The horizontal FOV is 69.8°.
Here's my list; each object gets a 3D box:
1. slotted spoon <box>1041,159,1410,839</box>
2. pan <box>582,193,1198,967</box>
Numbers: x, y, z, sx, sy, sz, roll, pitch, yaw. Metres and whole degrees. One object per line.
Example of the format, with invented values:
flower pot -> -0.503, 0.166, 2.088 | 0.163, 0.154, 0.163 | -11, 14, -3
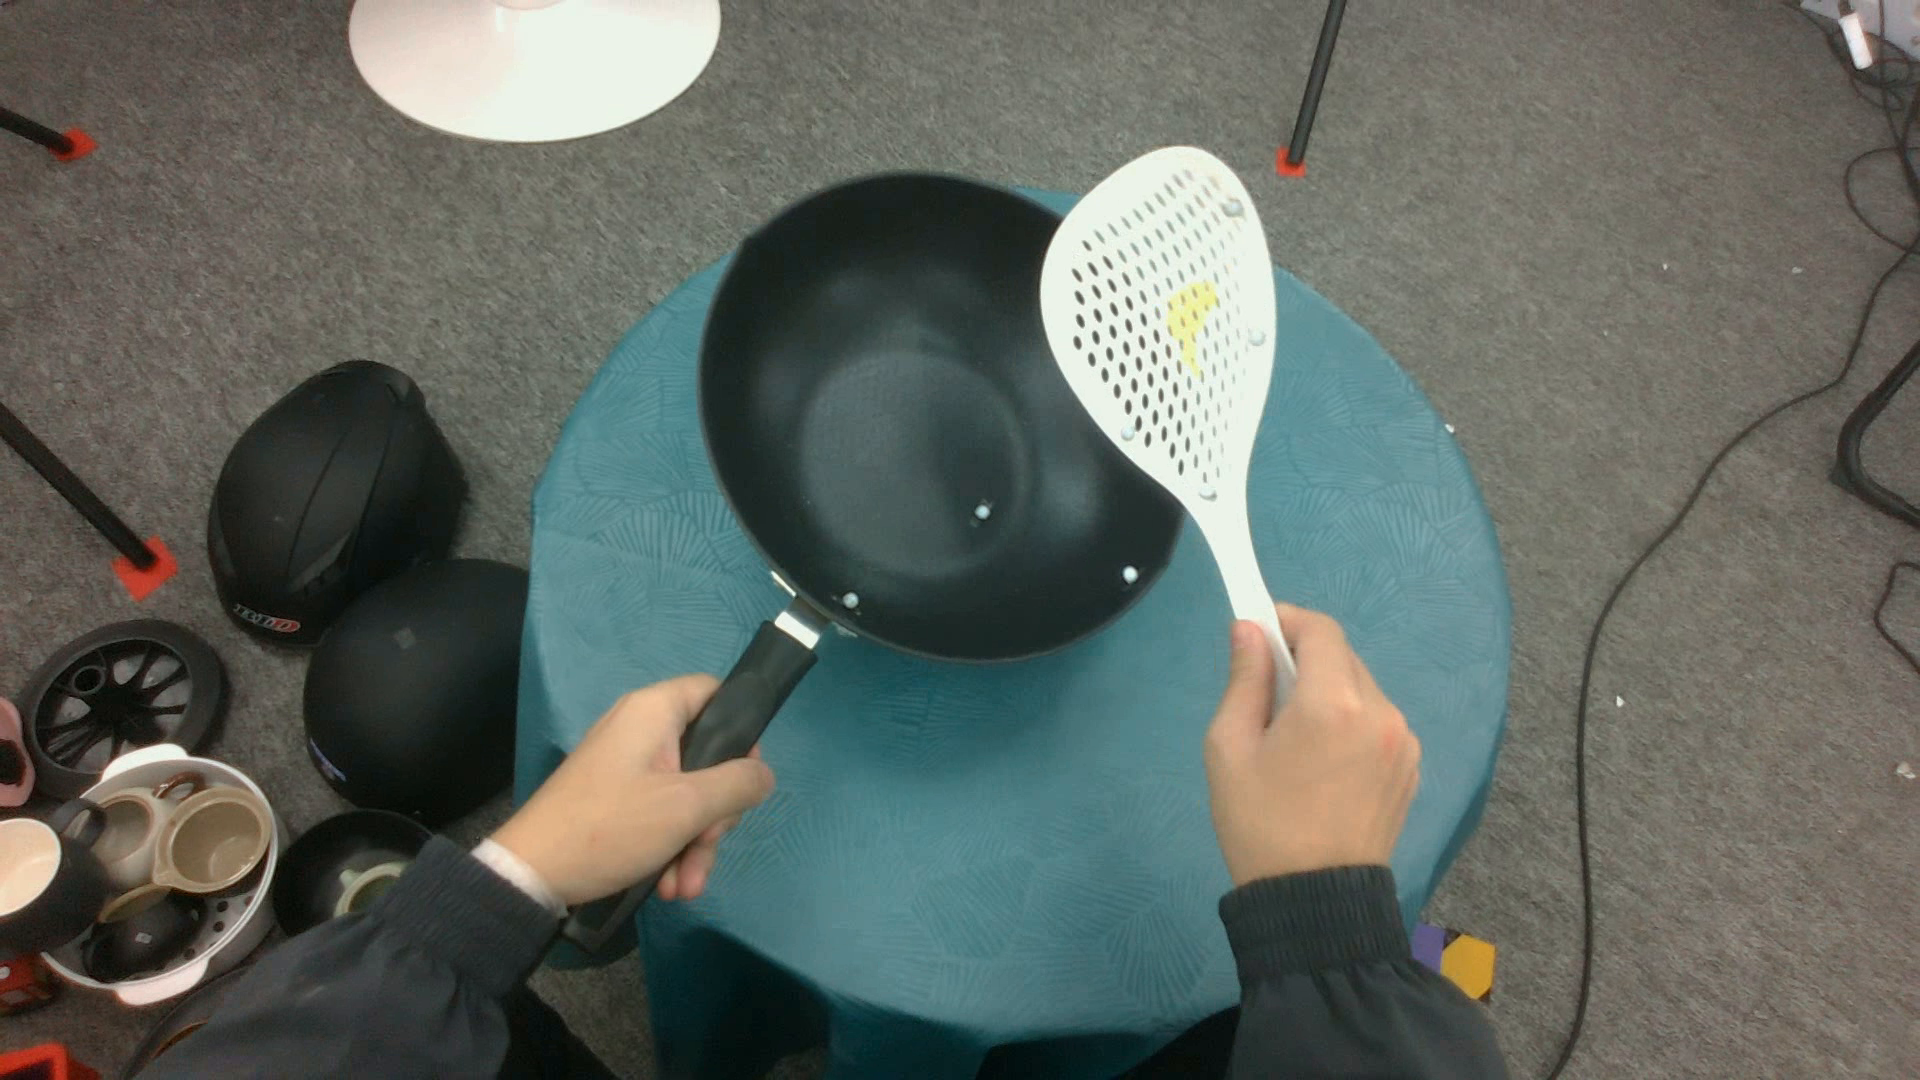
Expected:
slotted spoon -> 0.139, -0.020, 0.677 | 0.050, 0.136, 0.348 | 3, 65, -49
pan -> -0.052, 0.019, 0.738 | 0.288, 0.086, 0.465 | 34, 65, -6
